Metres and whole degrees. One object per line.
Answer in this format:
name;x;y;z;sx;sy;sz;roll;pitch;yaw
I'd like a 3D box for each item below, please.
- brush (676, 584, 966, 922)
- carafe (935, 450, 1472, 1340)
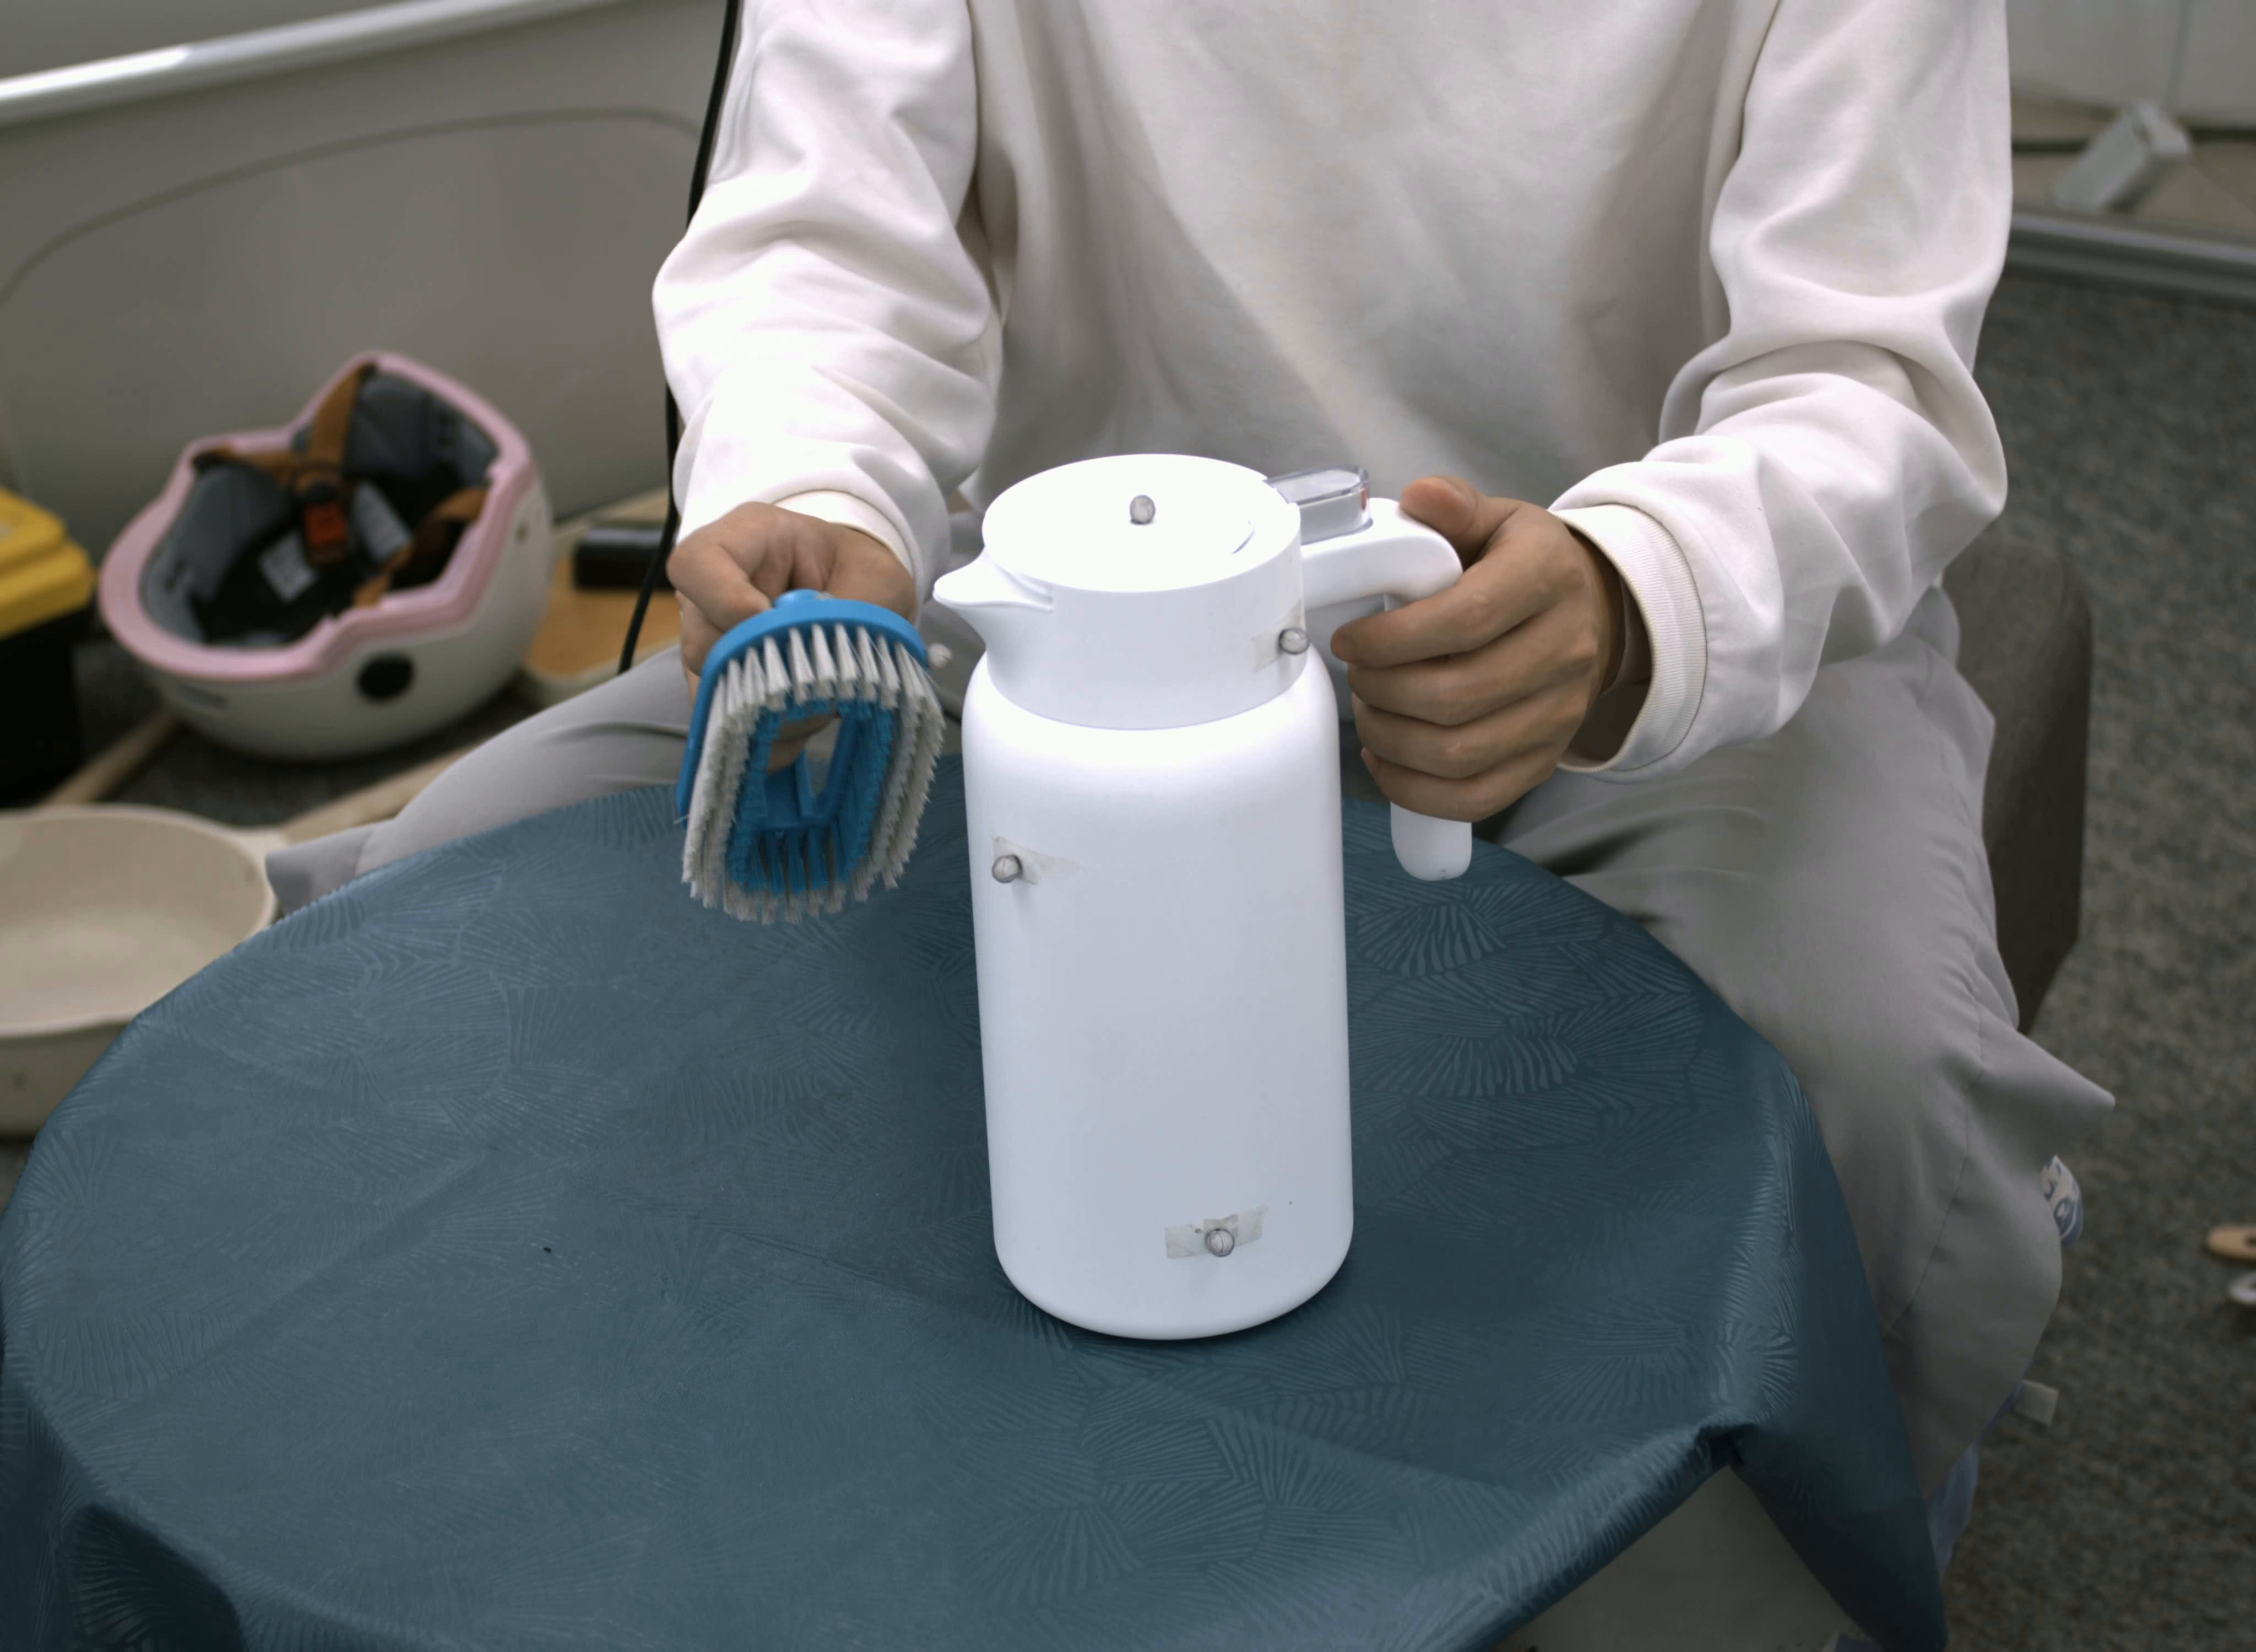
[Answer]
brush;-0.104;-0.033;1.819;0.084;0.139;0.065;-6;55;-16
carafe;0.026;0.018;1.777;0.173;0.266;0.124;-13;26;-21
